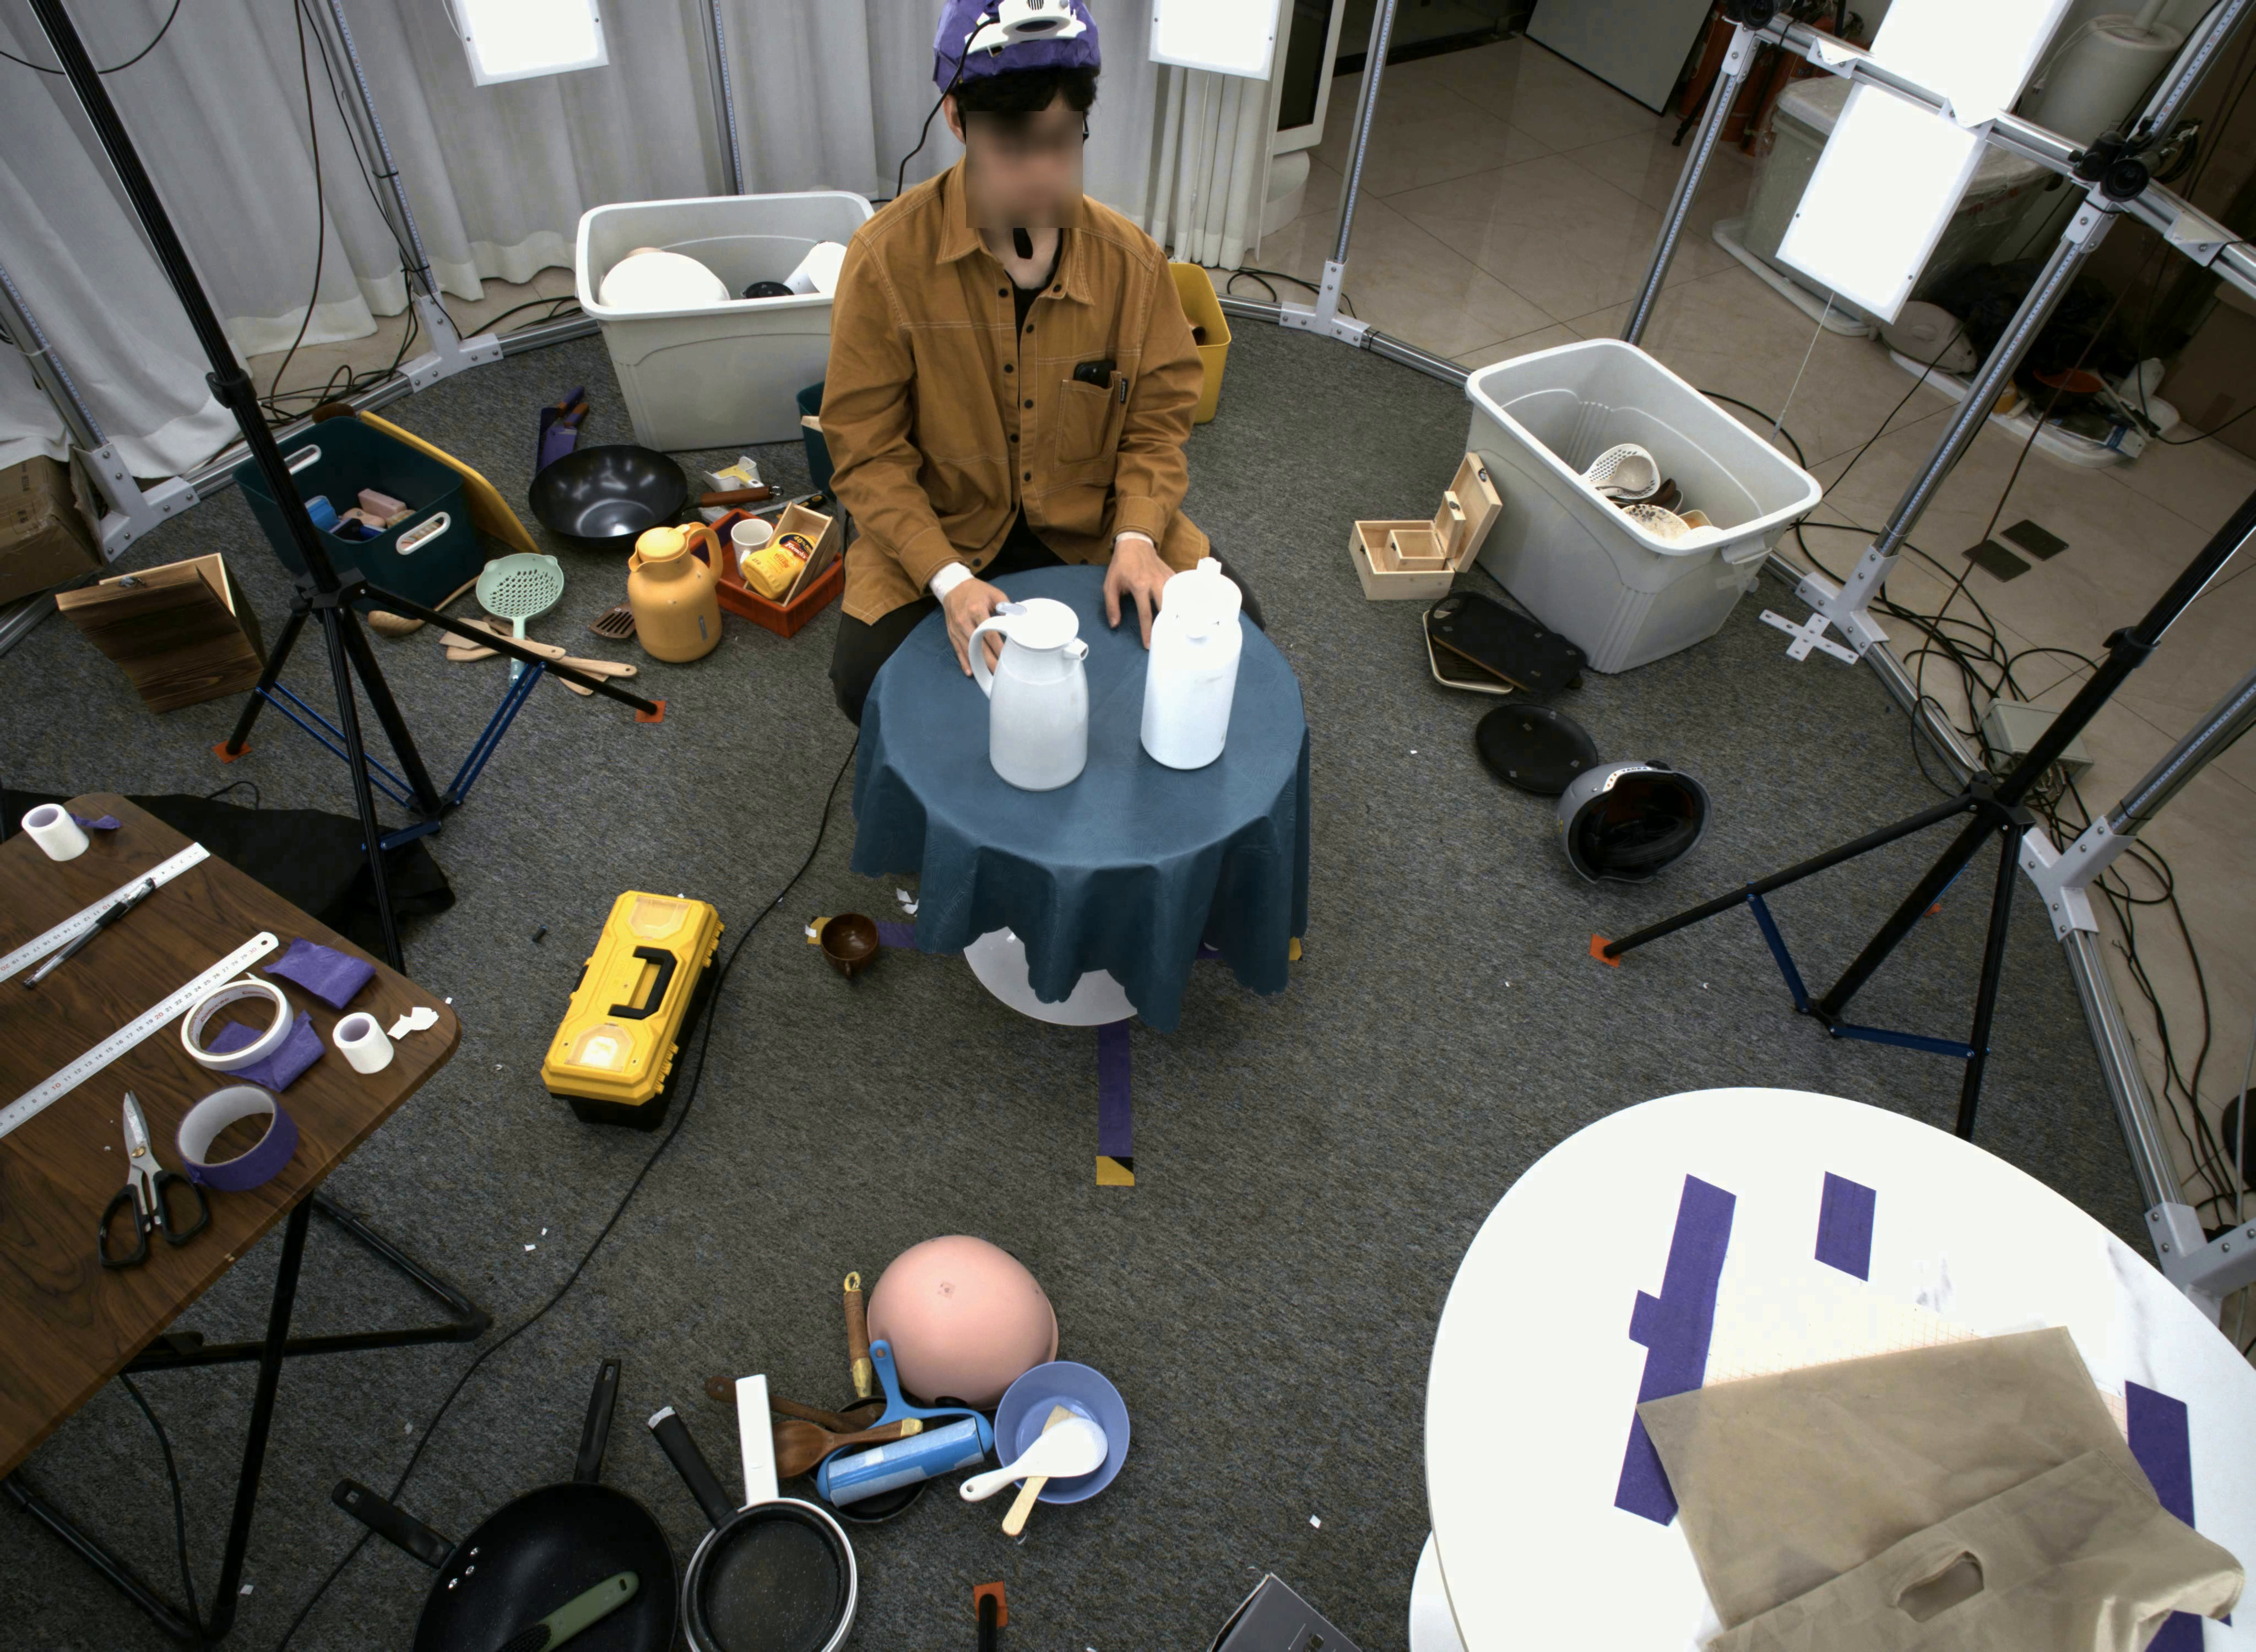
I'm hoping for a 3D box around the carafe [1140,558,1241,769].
[{"bbox_3d":[0.084,-0.215,1.689,0.124,0.262,0.177,8,49,5],"label":"carafe"}]

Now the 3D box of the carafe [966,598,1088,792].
[{"bbox_3d":[-0.133,-0.181,1.658,0.169,0.242,0.135,24,52,17],"label":"carafe"}]
